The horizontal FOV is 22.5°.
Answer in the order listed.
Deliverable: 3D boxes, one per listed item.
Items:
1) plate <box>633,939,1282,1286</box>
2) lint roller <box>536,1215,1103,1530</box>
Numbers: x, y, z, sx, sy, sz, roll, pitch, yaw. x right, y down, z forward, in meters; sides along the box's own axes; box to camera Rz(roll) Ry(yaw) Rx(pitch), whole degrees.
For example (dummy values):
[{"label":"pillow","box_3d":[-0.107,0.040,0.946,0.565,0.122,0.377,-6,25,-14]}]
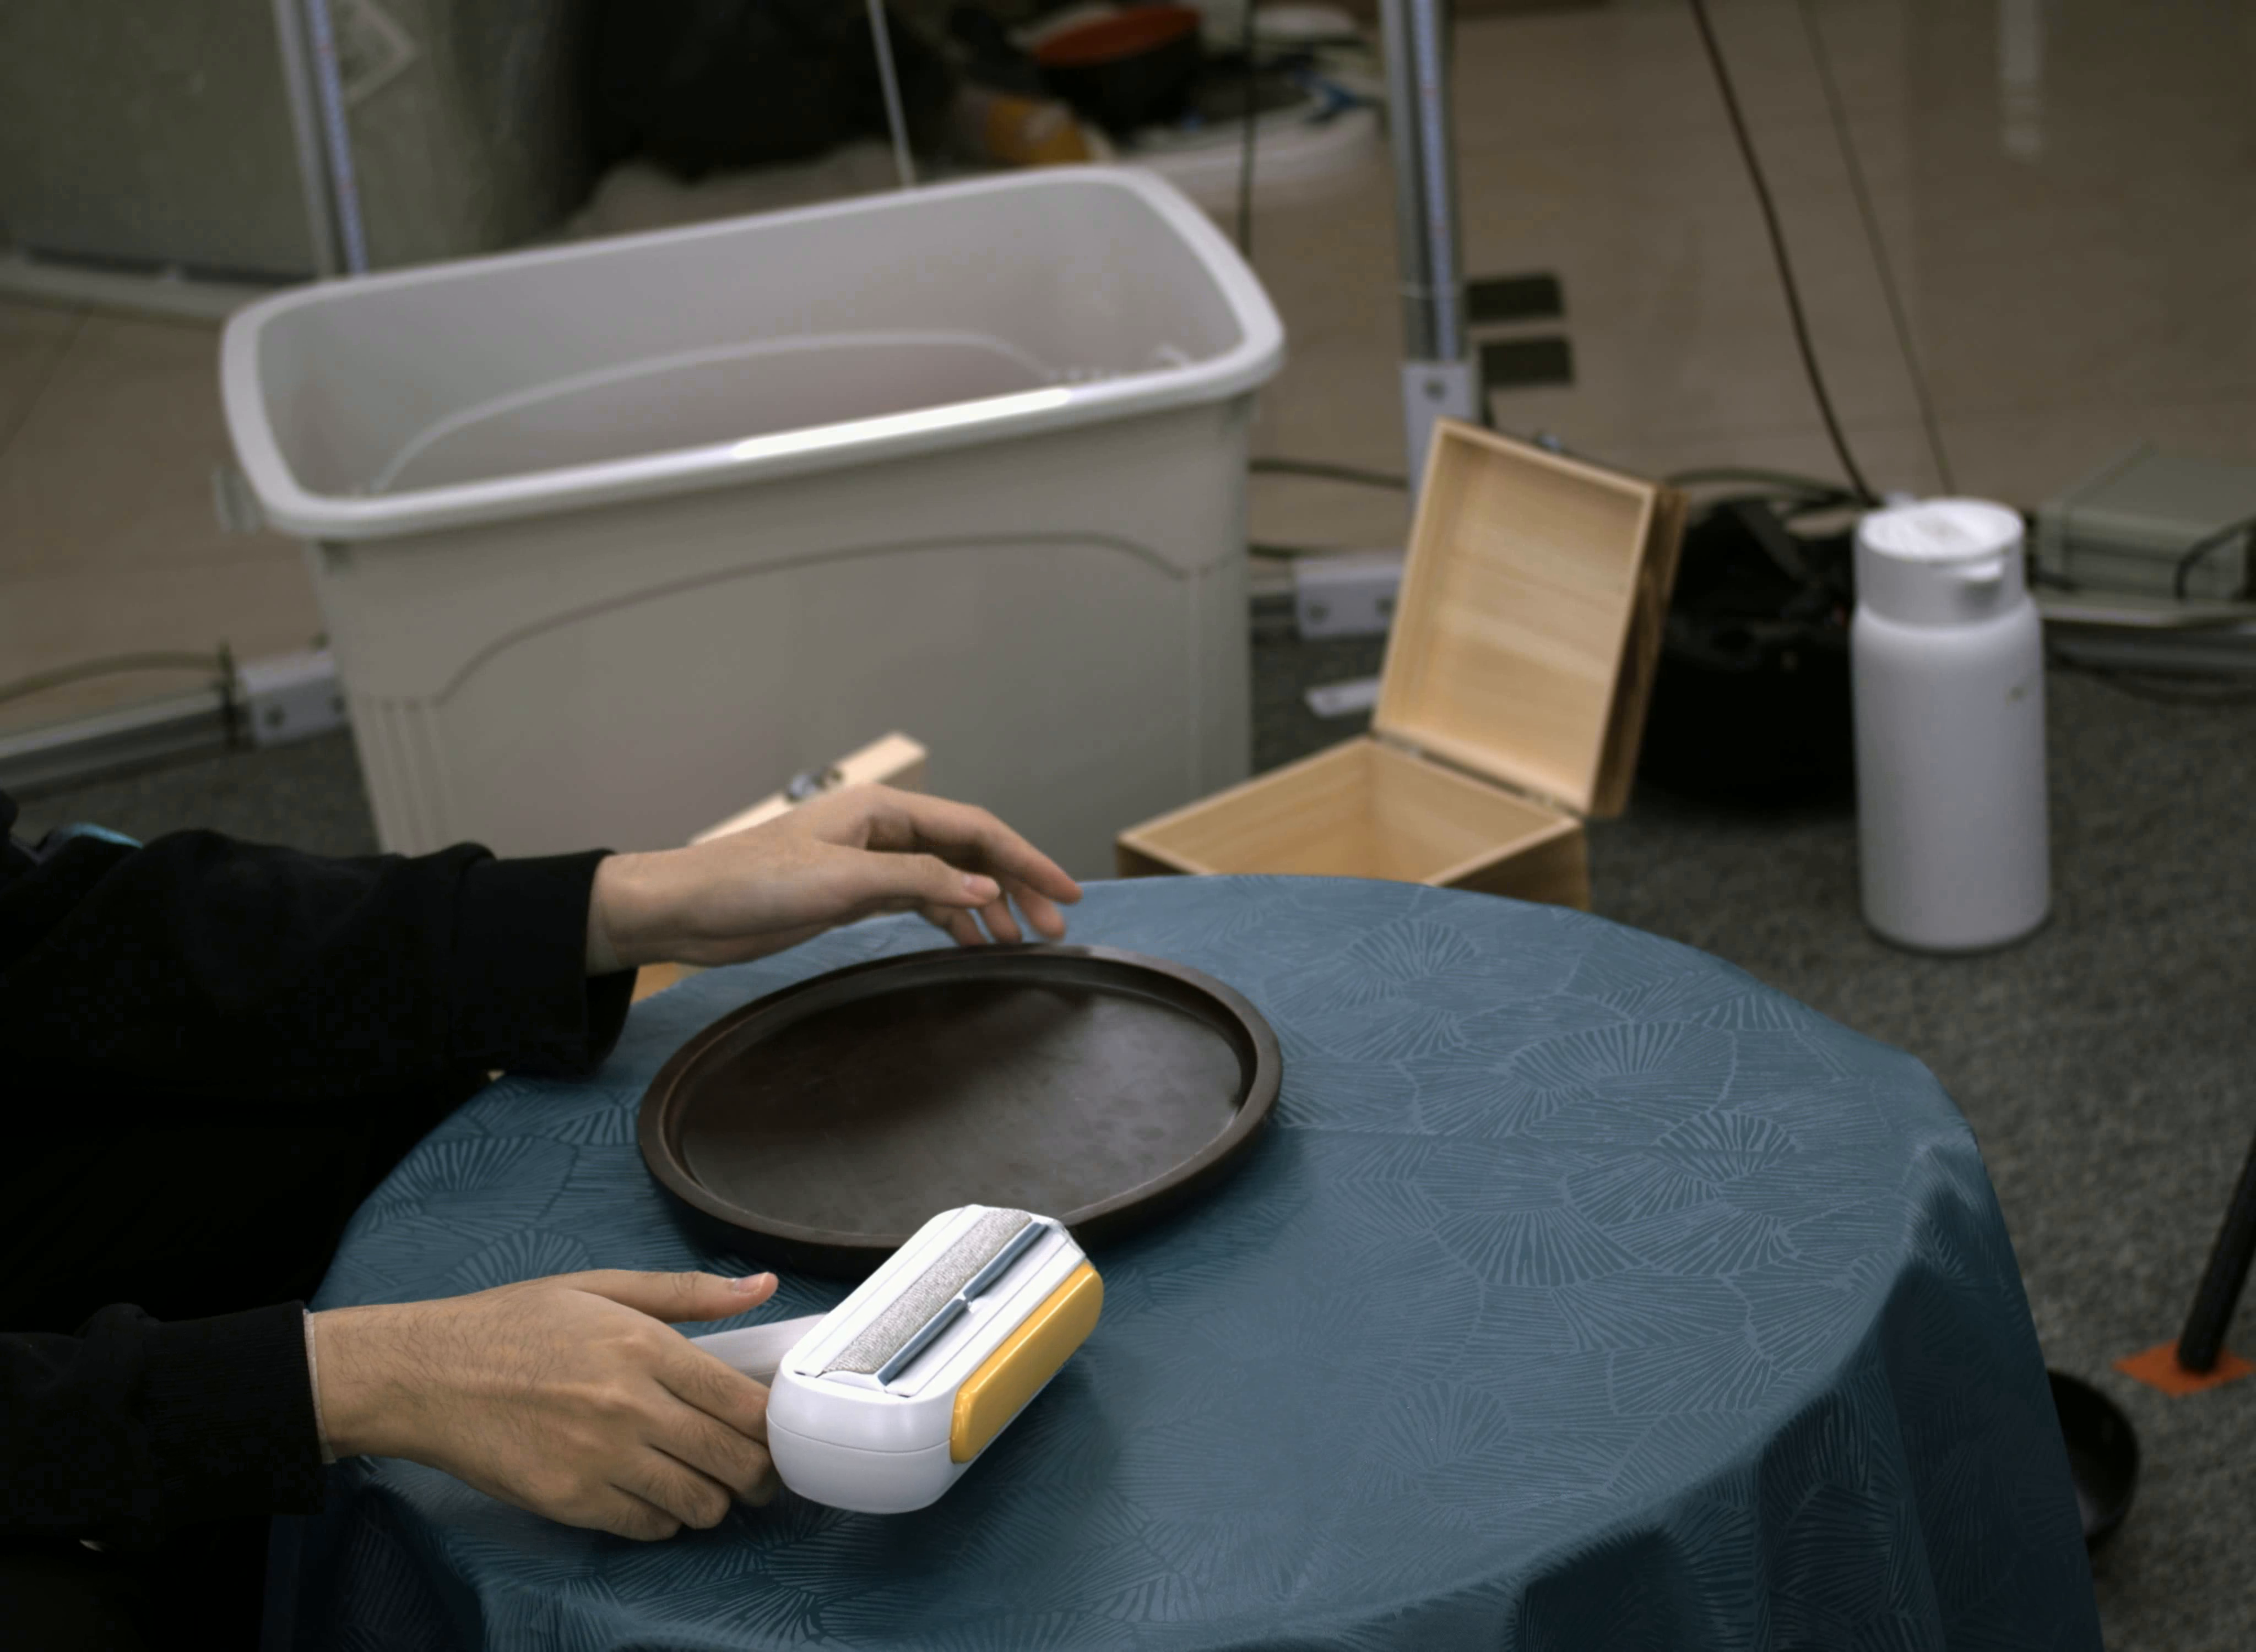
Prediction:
[{"label":"plate","box_3d":[-0.065,0.110,2.195,0.254,0.029,0.251,-6,25,3]},{"label":"lint roller","box_3d":[-0.122,0.190,1.985,0.192,0.075,0.191,3,21,23]}]
